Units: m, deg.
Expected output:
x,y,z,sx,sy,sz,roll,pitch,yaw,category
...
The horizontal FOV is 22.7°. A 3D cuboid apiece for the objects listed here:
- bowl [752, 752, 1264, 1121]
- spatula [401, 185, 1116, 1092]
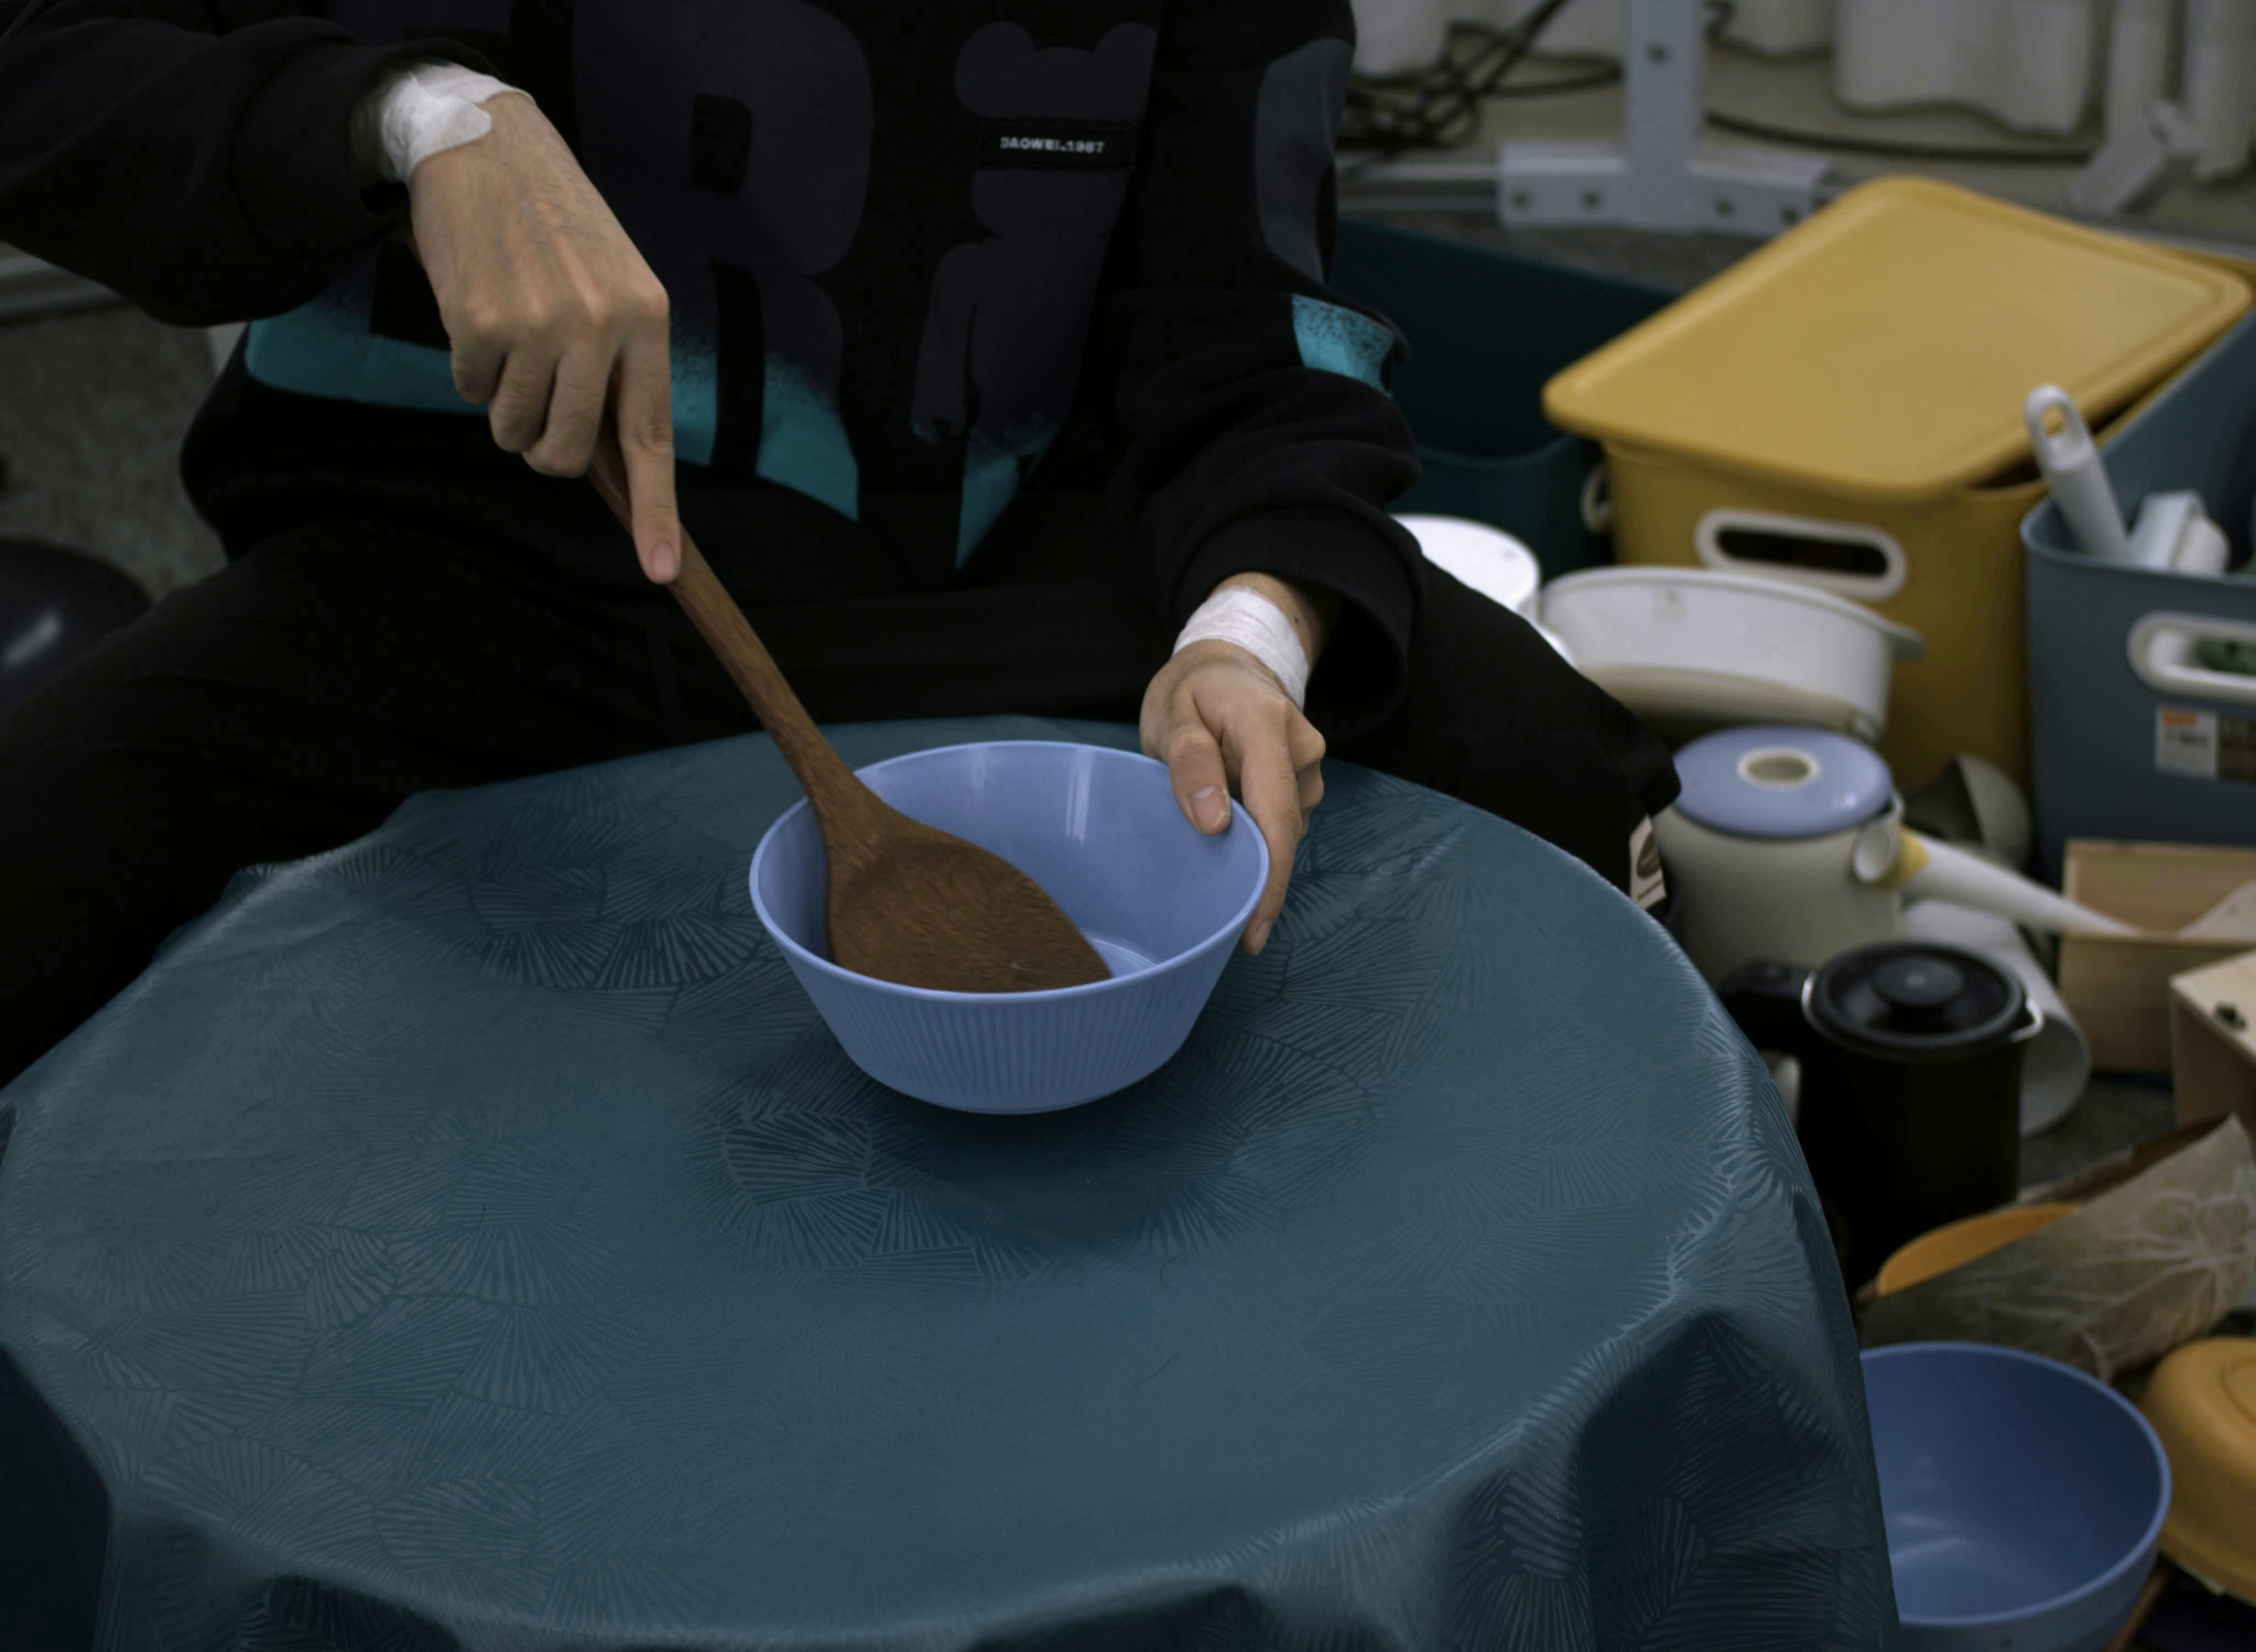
x,y,z,sx,sy,sz,roll,pitch,yaw,category
-0.038,0.044,1.917,0.175,0.069,0.179,-4,28,2,bowl
-0.139,-0.071,1.940,0.097,0.015,0.388,-27,76,-37,spatula
